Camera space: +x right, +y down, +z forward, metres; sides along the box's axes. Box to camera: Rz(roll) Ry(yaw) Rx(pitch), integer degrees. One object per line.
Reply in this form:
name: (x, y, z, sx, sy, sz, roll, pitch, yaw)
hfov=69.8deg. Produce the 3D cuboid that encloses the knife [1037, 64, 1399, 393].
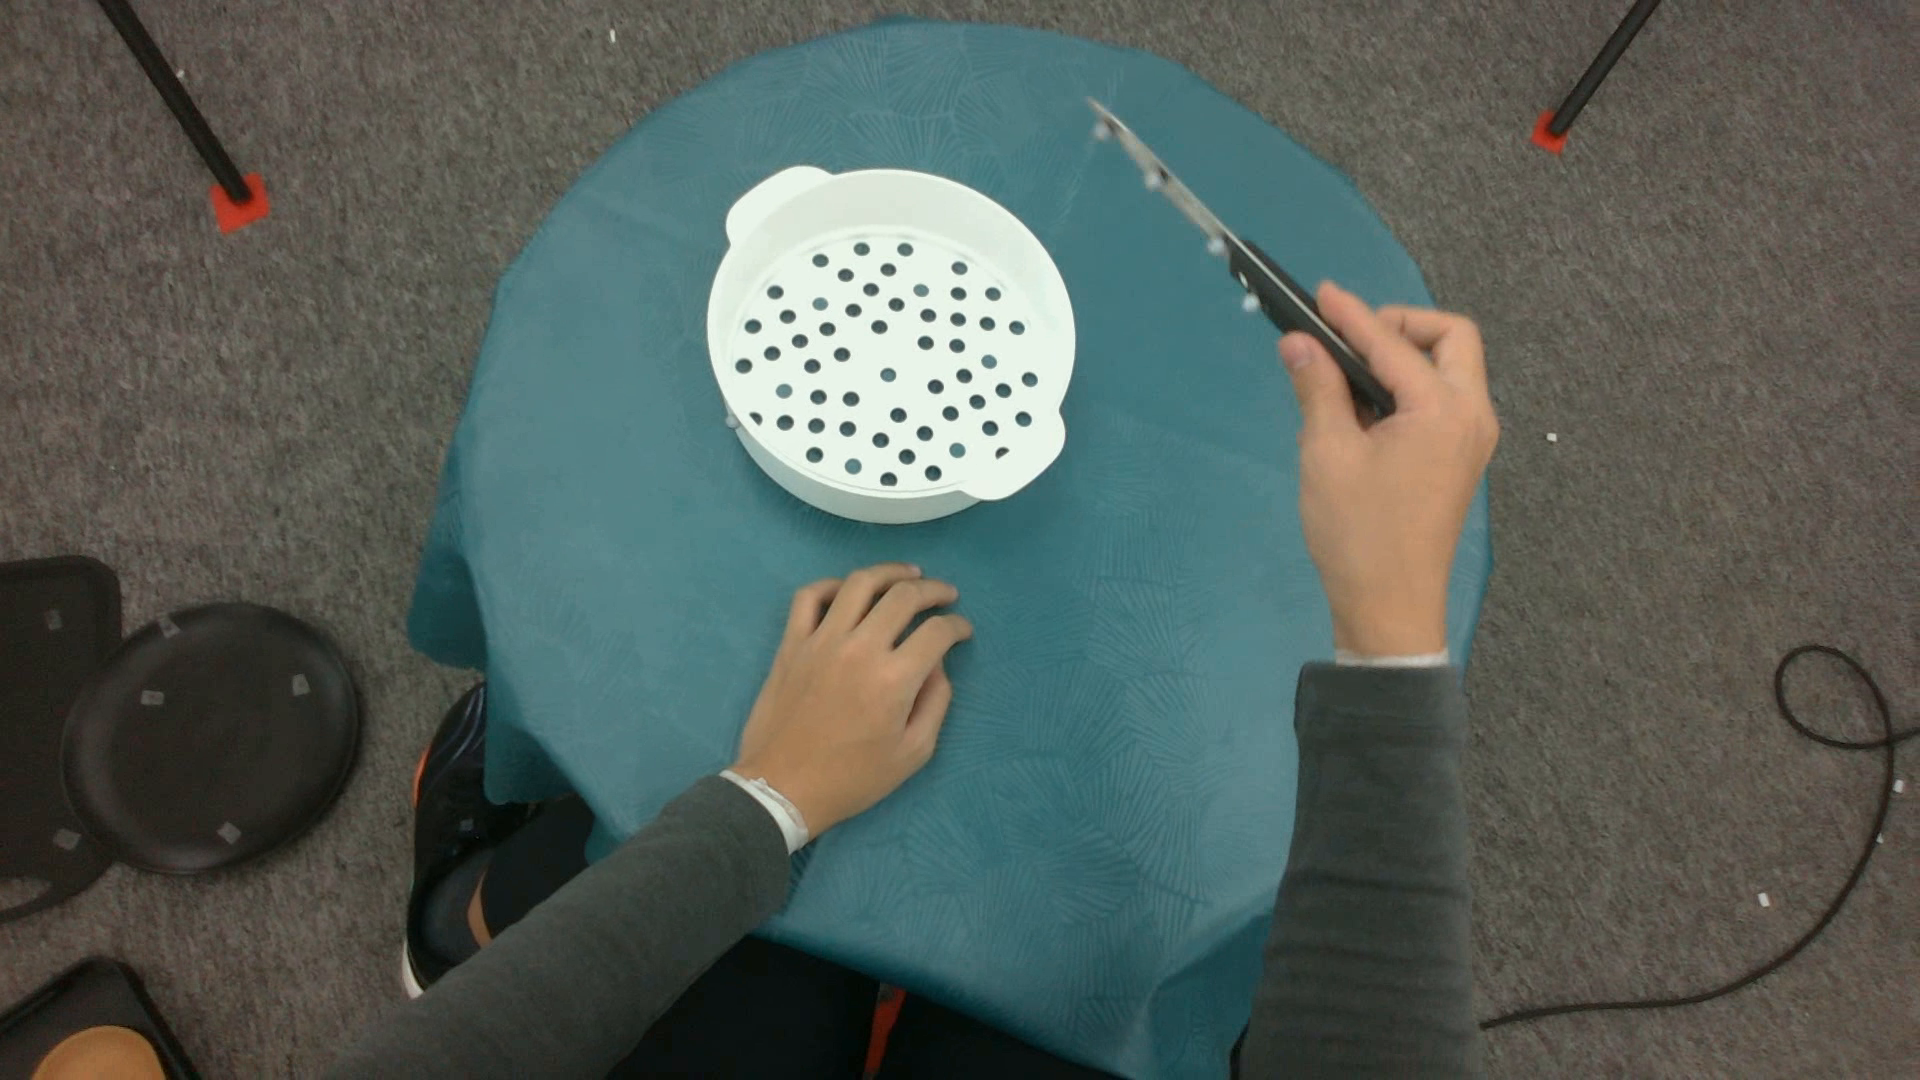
knife: (0.104, -0.146, 0.605, 0.016, 0.024, 0.238, -40, 64, 0)

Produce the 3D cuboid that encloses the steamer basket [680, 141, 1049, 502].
steamer basket: (-0.054, -0.120, 0.775, 0.202, 0.069, 0.230, -39, 80, -18)
